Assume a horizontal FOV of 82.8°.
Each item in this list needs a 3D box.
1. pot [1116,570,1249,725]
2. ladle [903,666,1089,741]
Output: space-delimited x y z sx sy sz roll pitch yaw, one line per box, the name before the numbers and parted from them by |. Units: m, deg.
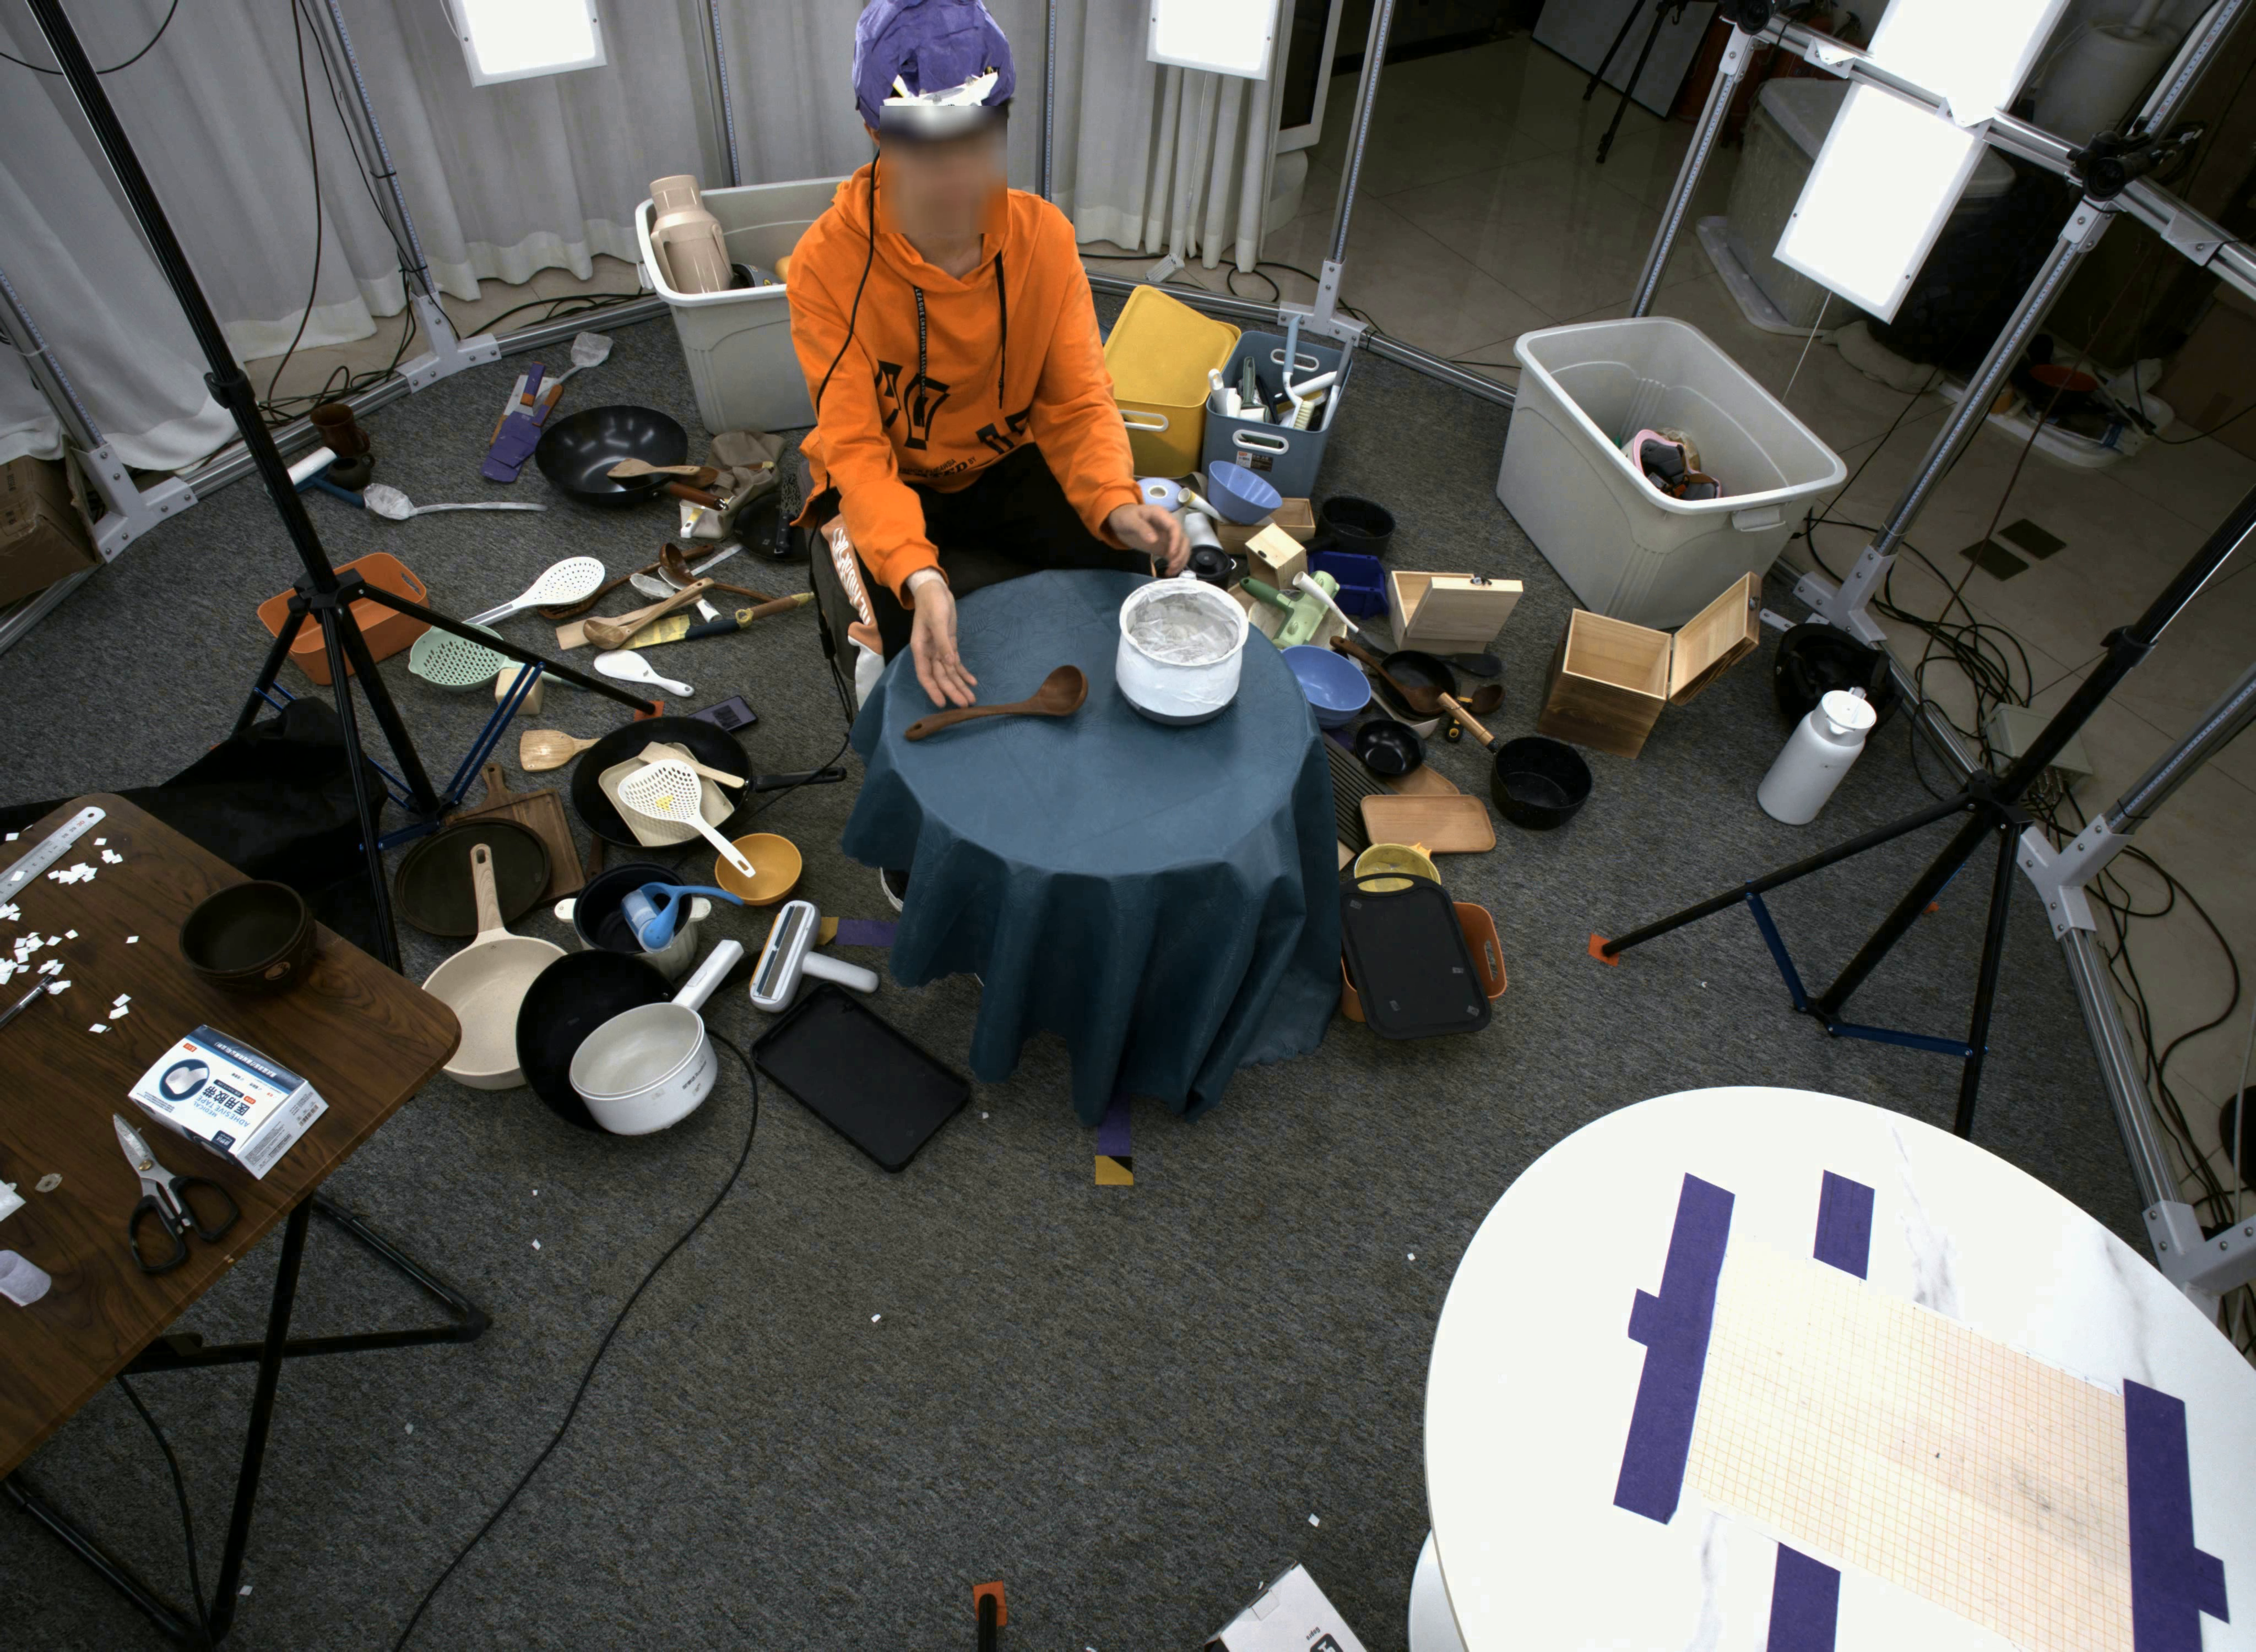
pot | 0.074 -0.261 1.811 0.178 0.133 0.239 5 50 0
ladle | -0.180 -0.166 1.760 0.260 0.063 0.078 -12 48 -14
